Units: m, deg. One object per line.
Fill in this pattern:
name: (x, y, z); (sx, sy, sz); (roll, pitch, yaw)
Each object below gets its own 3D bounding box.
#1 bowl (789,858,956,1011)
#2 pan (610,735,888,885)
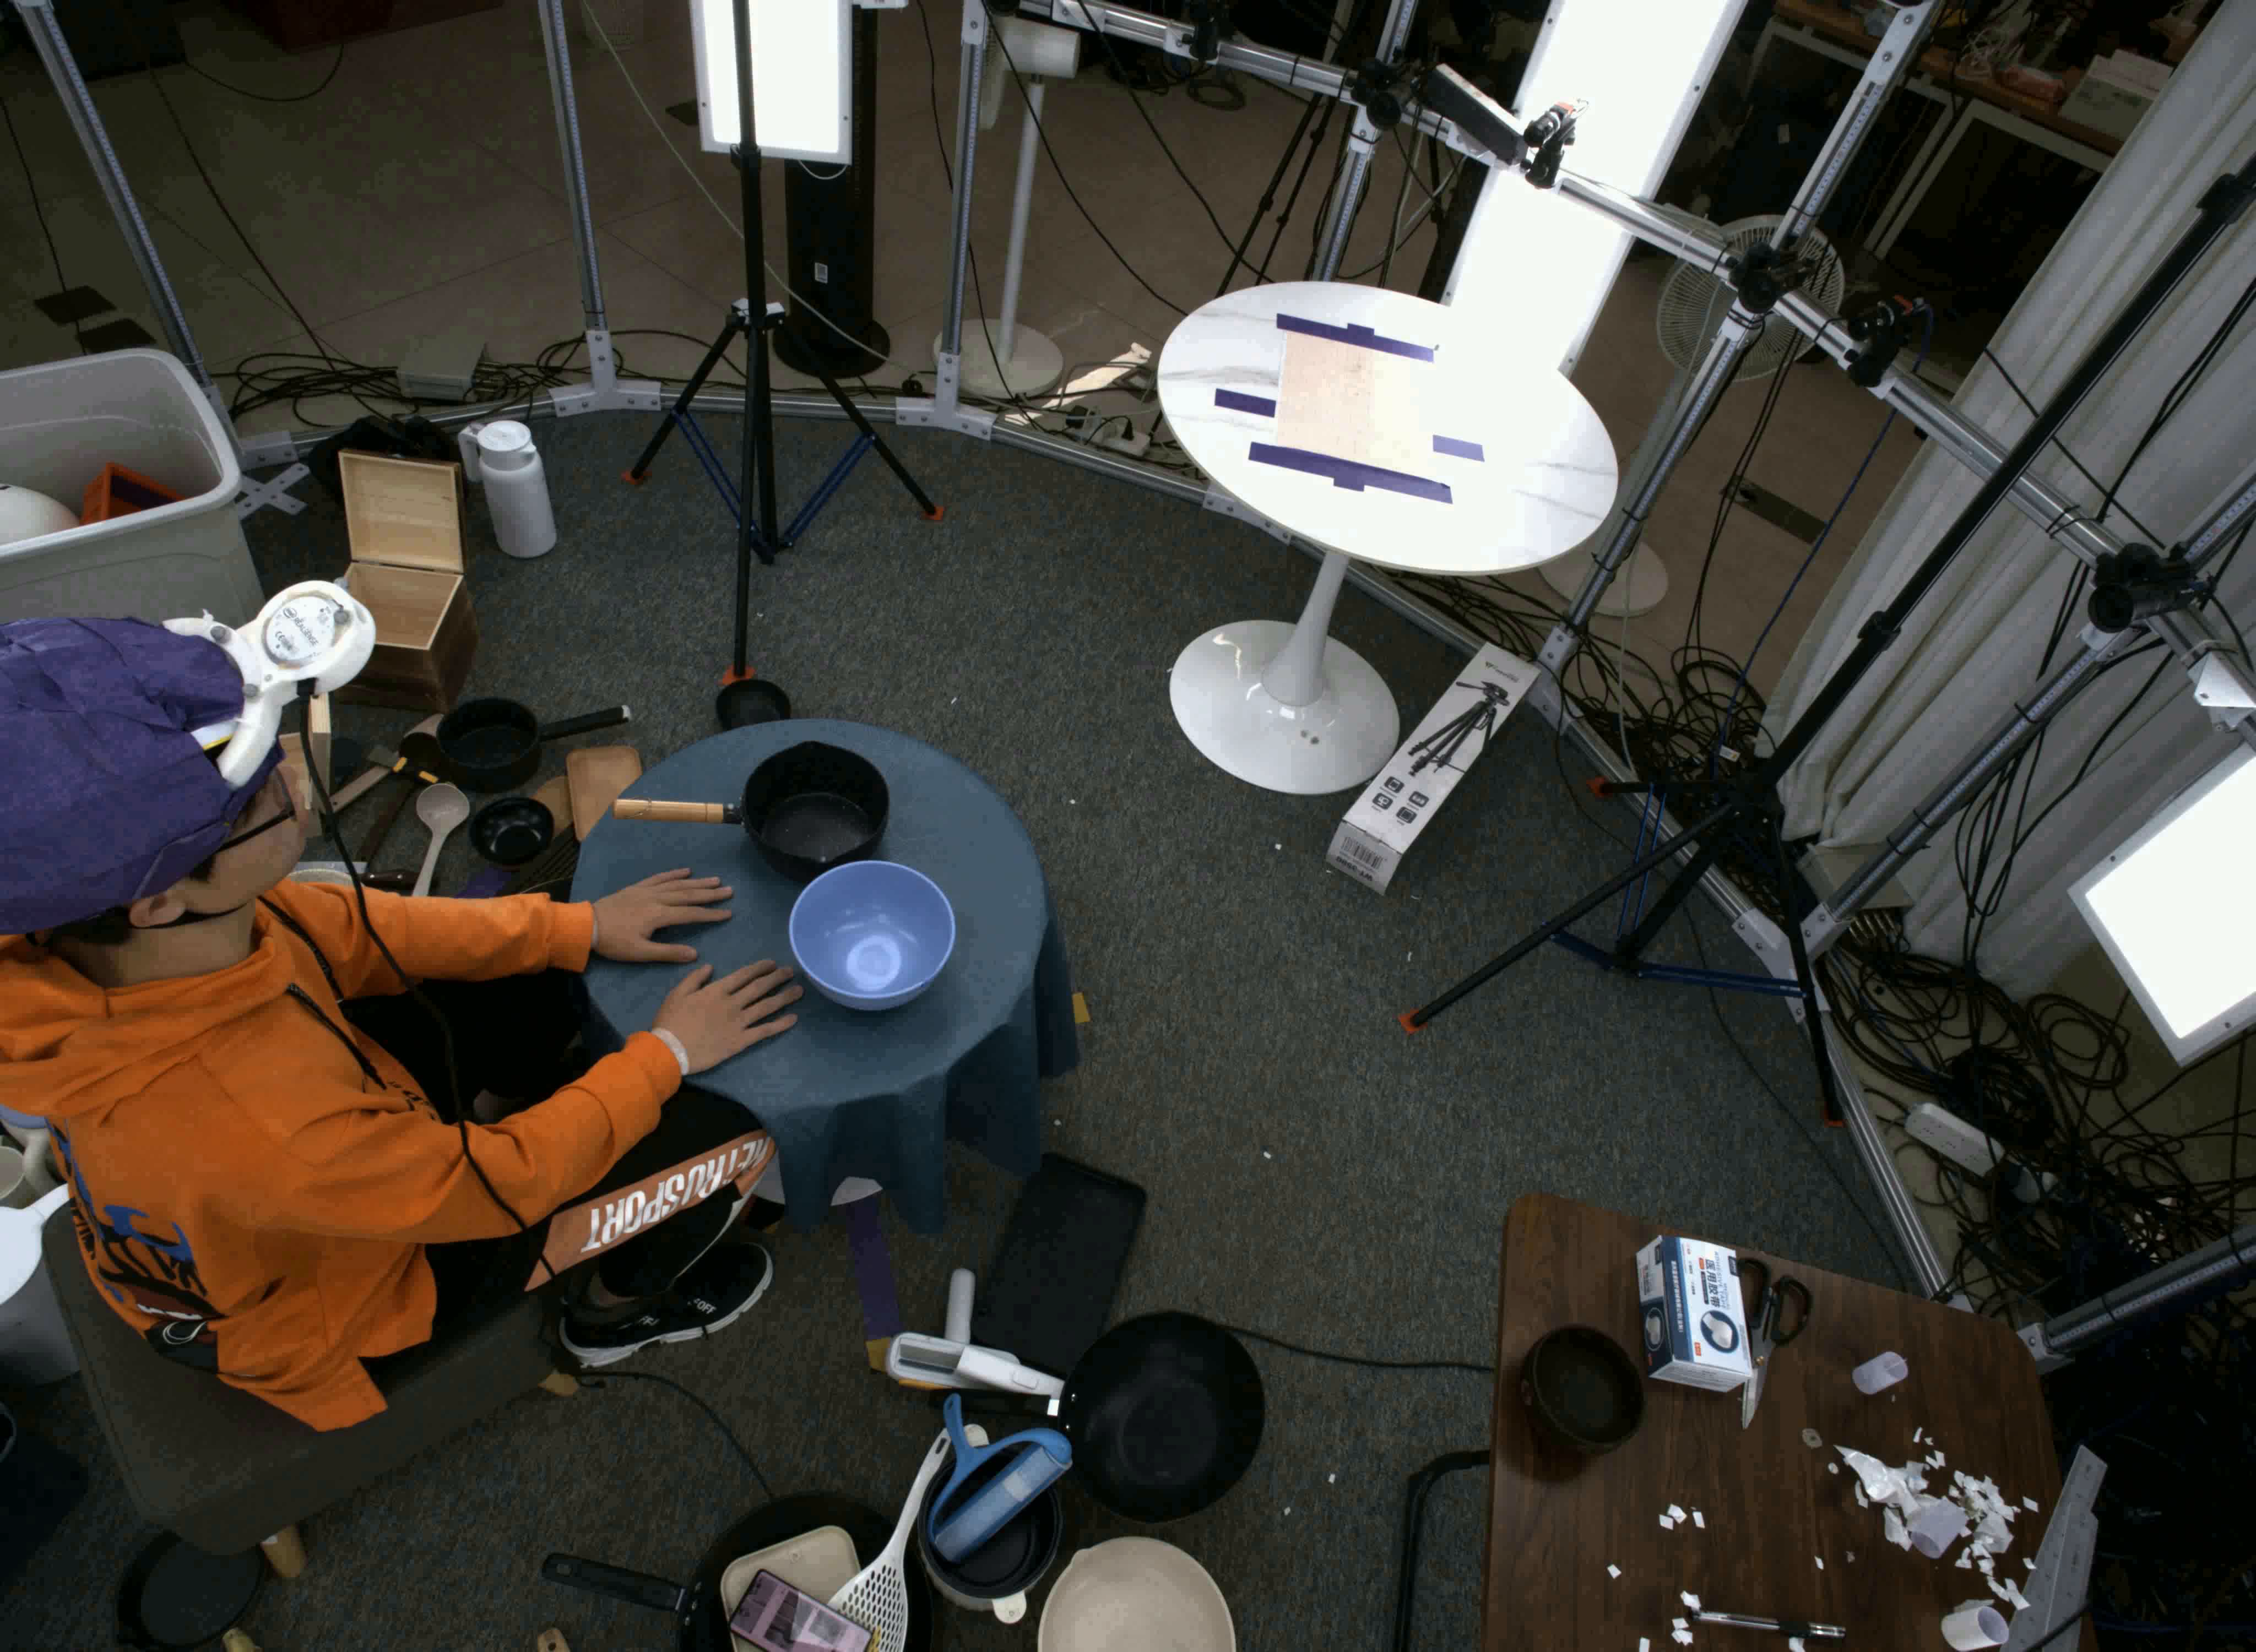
bowl: (-0.309, 0.145, 1.573); (0.196, 0.097, 0.193); (8, 52, -9)
pan: (-0.477, -0.010, 1.638); (0.344, 0.110, 0.203); (-5, 57, -20)
